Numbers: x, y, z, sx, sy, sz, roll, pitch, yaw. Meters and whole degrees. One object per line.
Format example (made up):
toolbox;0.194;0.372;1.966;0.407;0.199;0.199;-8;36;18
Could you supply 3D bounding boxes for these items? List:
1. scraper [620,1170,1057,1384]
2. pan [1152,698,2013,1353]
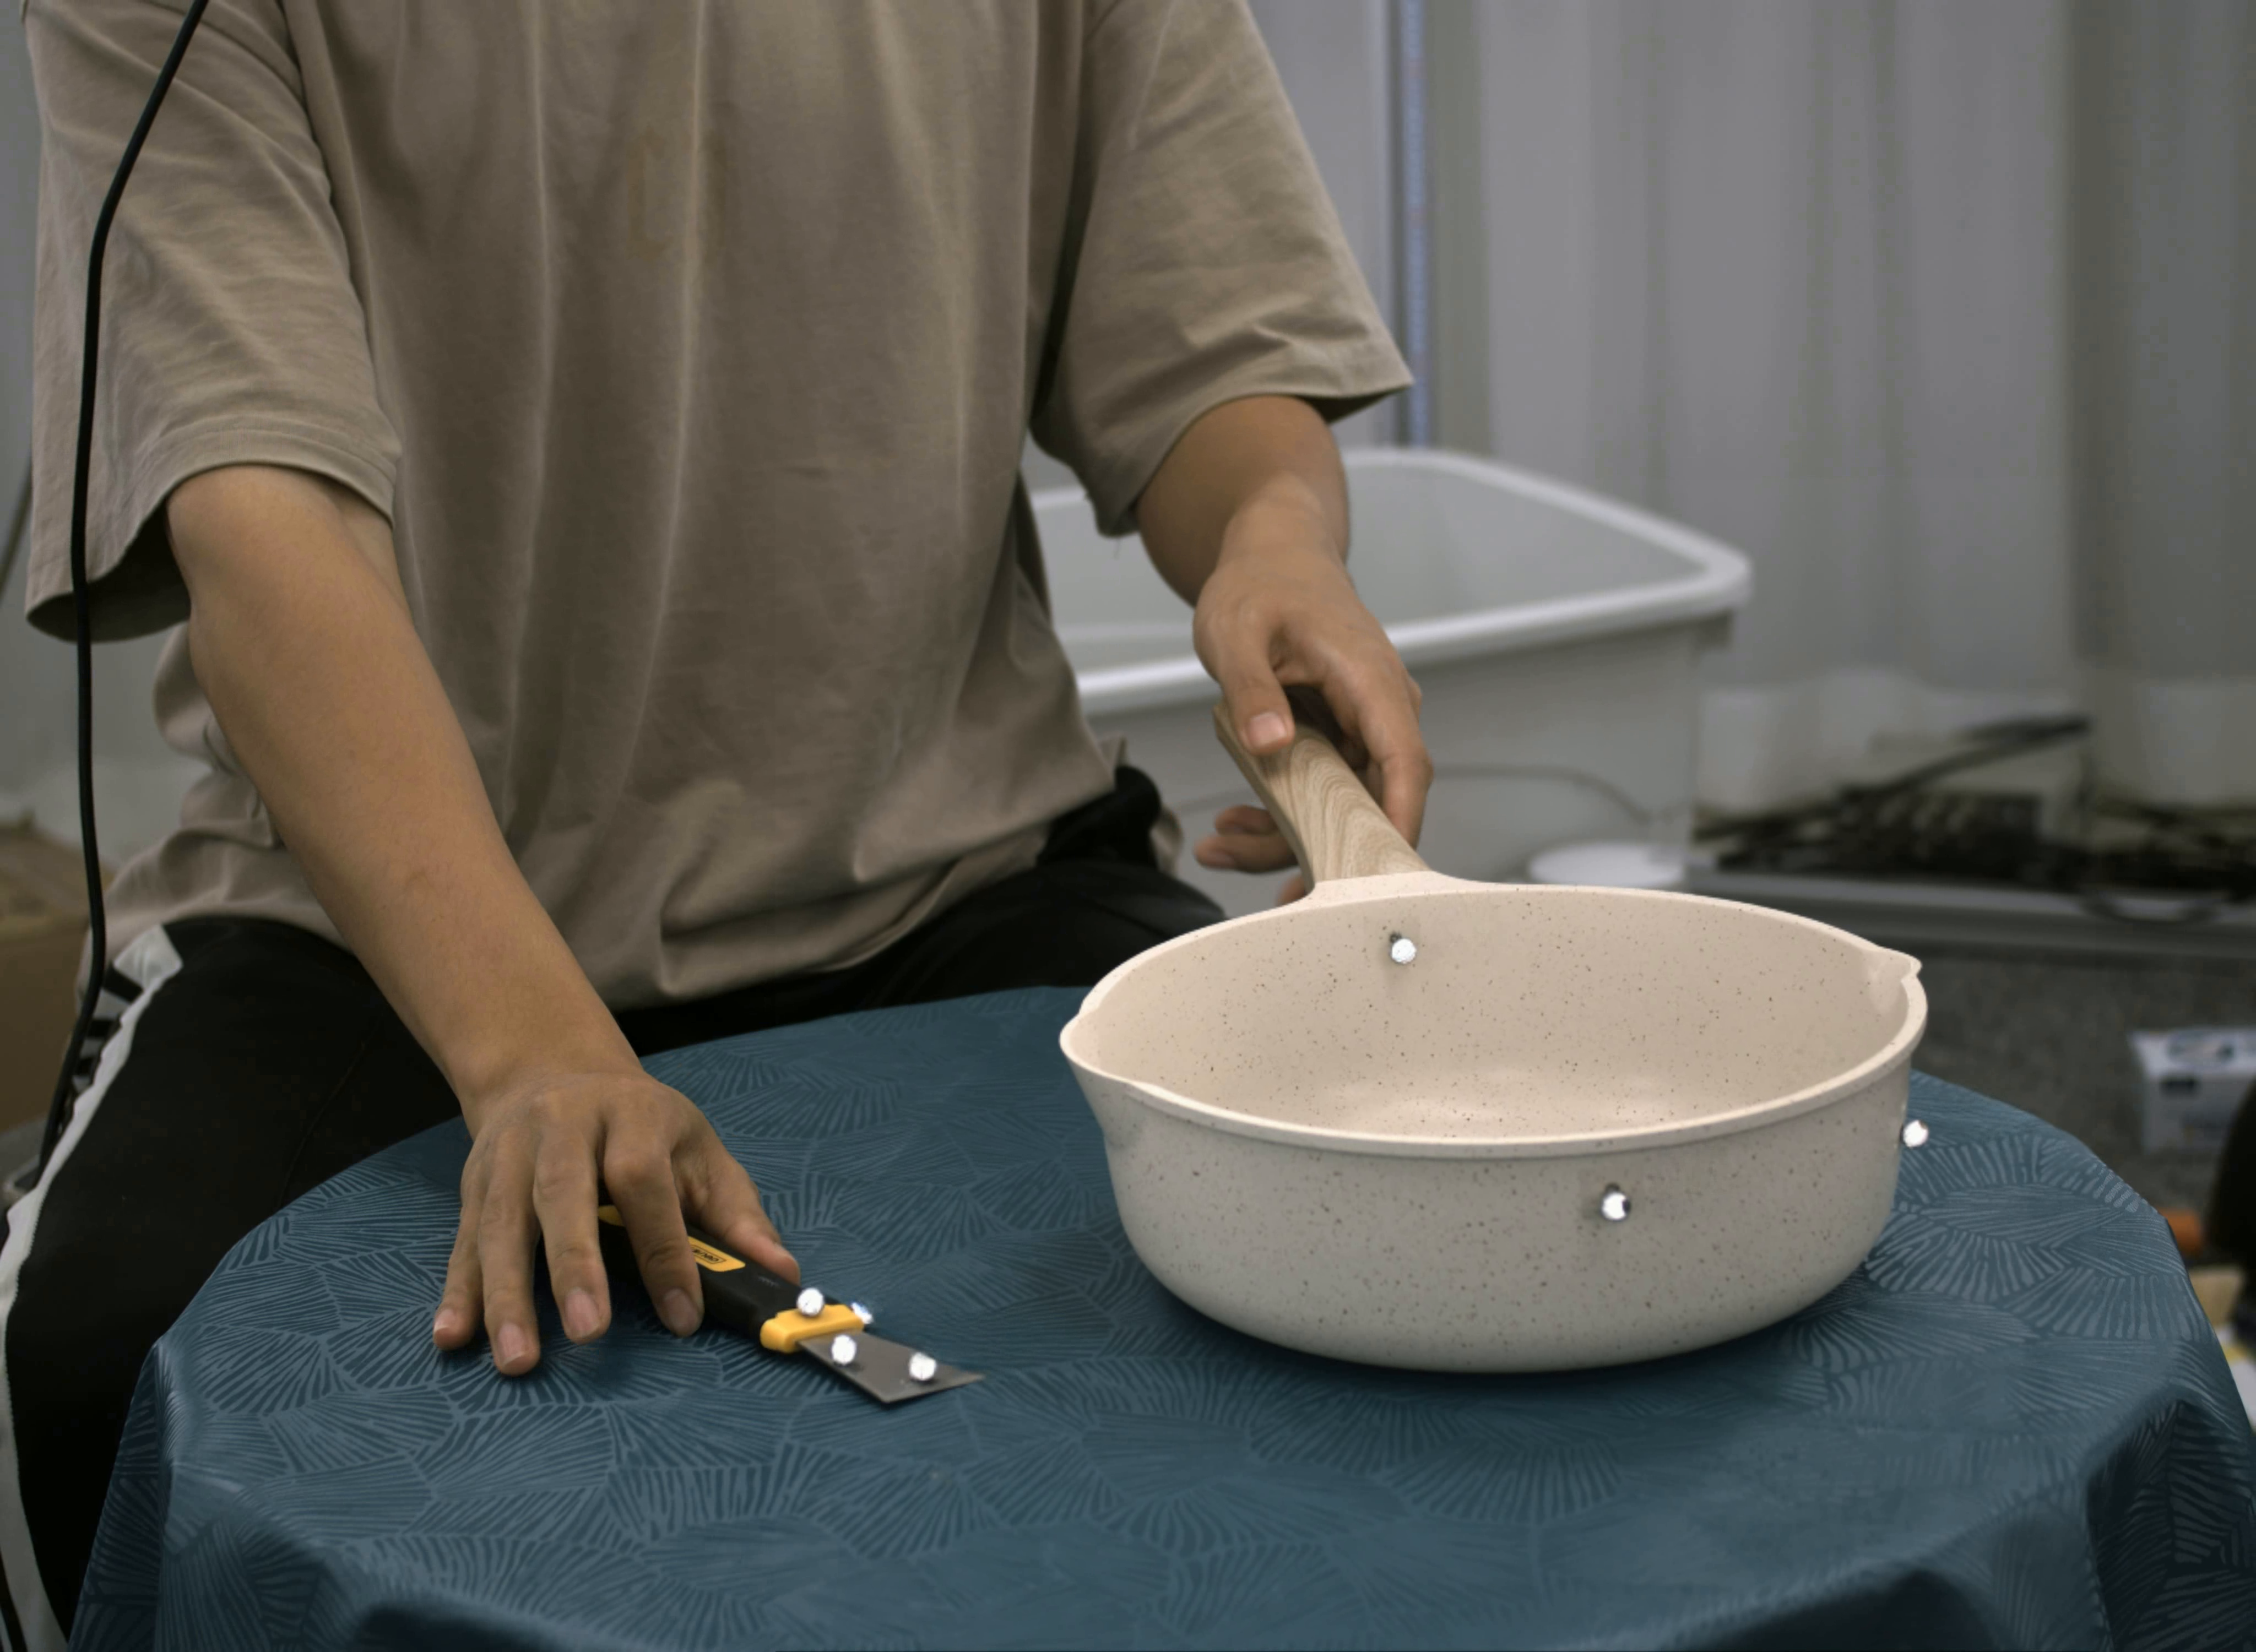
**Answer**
scraper;-0.091;0.132;1.607;0.039;0.015;0.172;-16;25;-40
pan;0.117;0.056;1.715;0.262;0.101;0.438;-9;16;-11
